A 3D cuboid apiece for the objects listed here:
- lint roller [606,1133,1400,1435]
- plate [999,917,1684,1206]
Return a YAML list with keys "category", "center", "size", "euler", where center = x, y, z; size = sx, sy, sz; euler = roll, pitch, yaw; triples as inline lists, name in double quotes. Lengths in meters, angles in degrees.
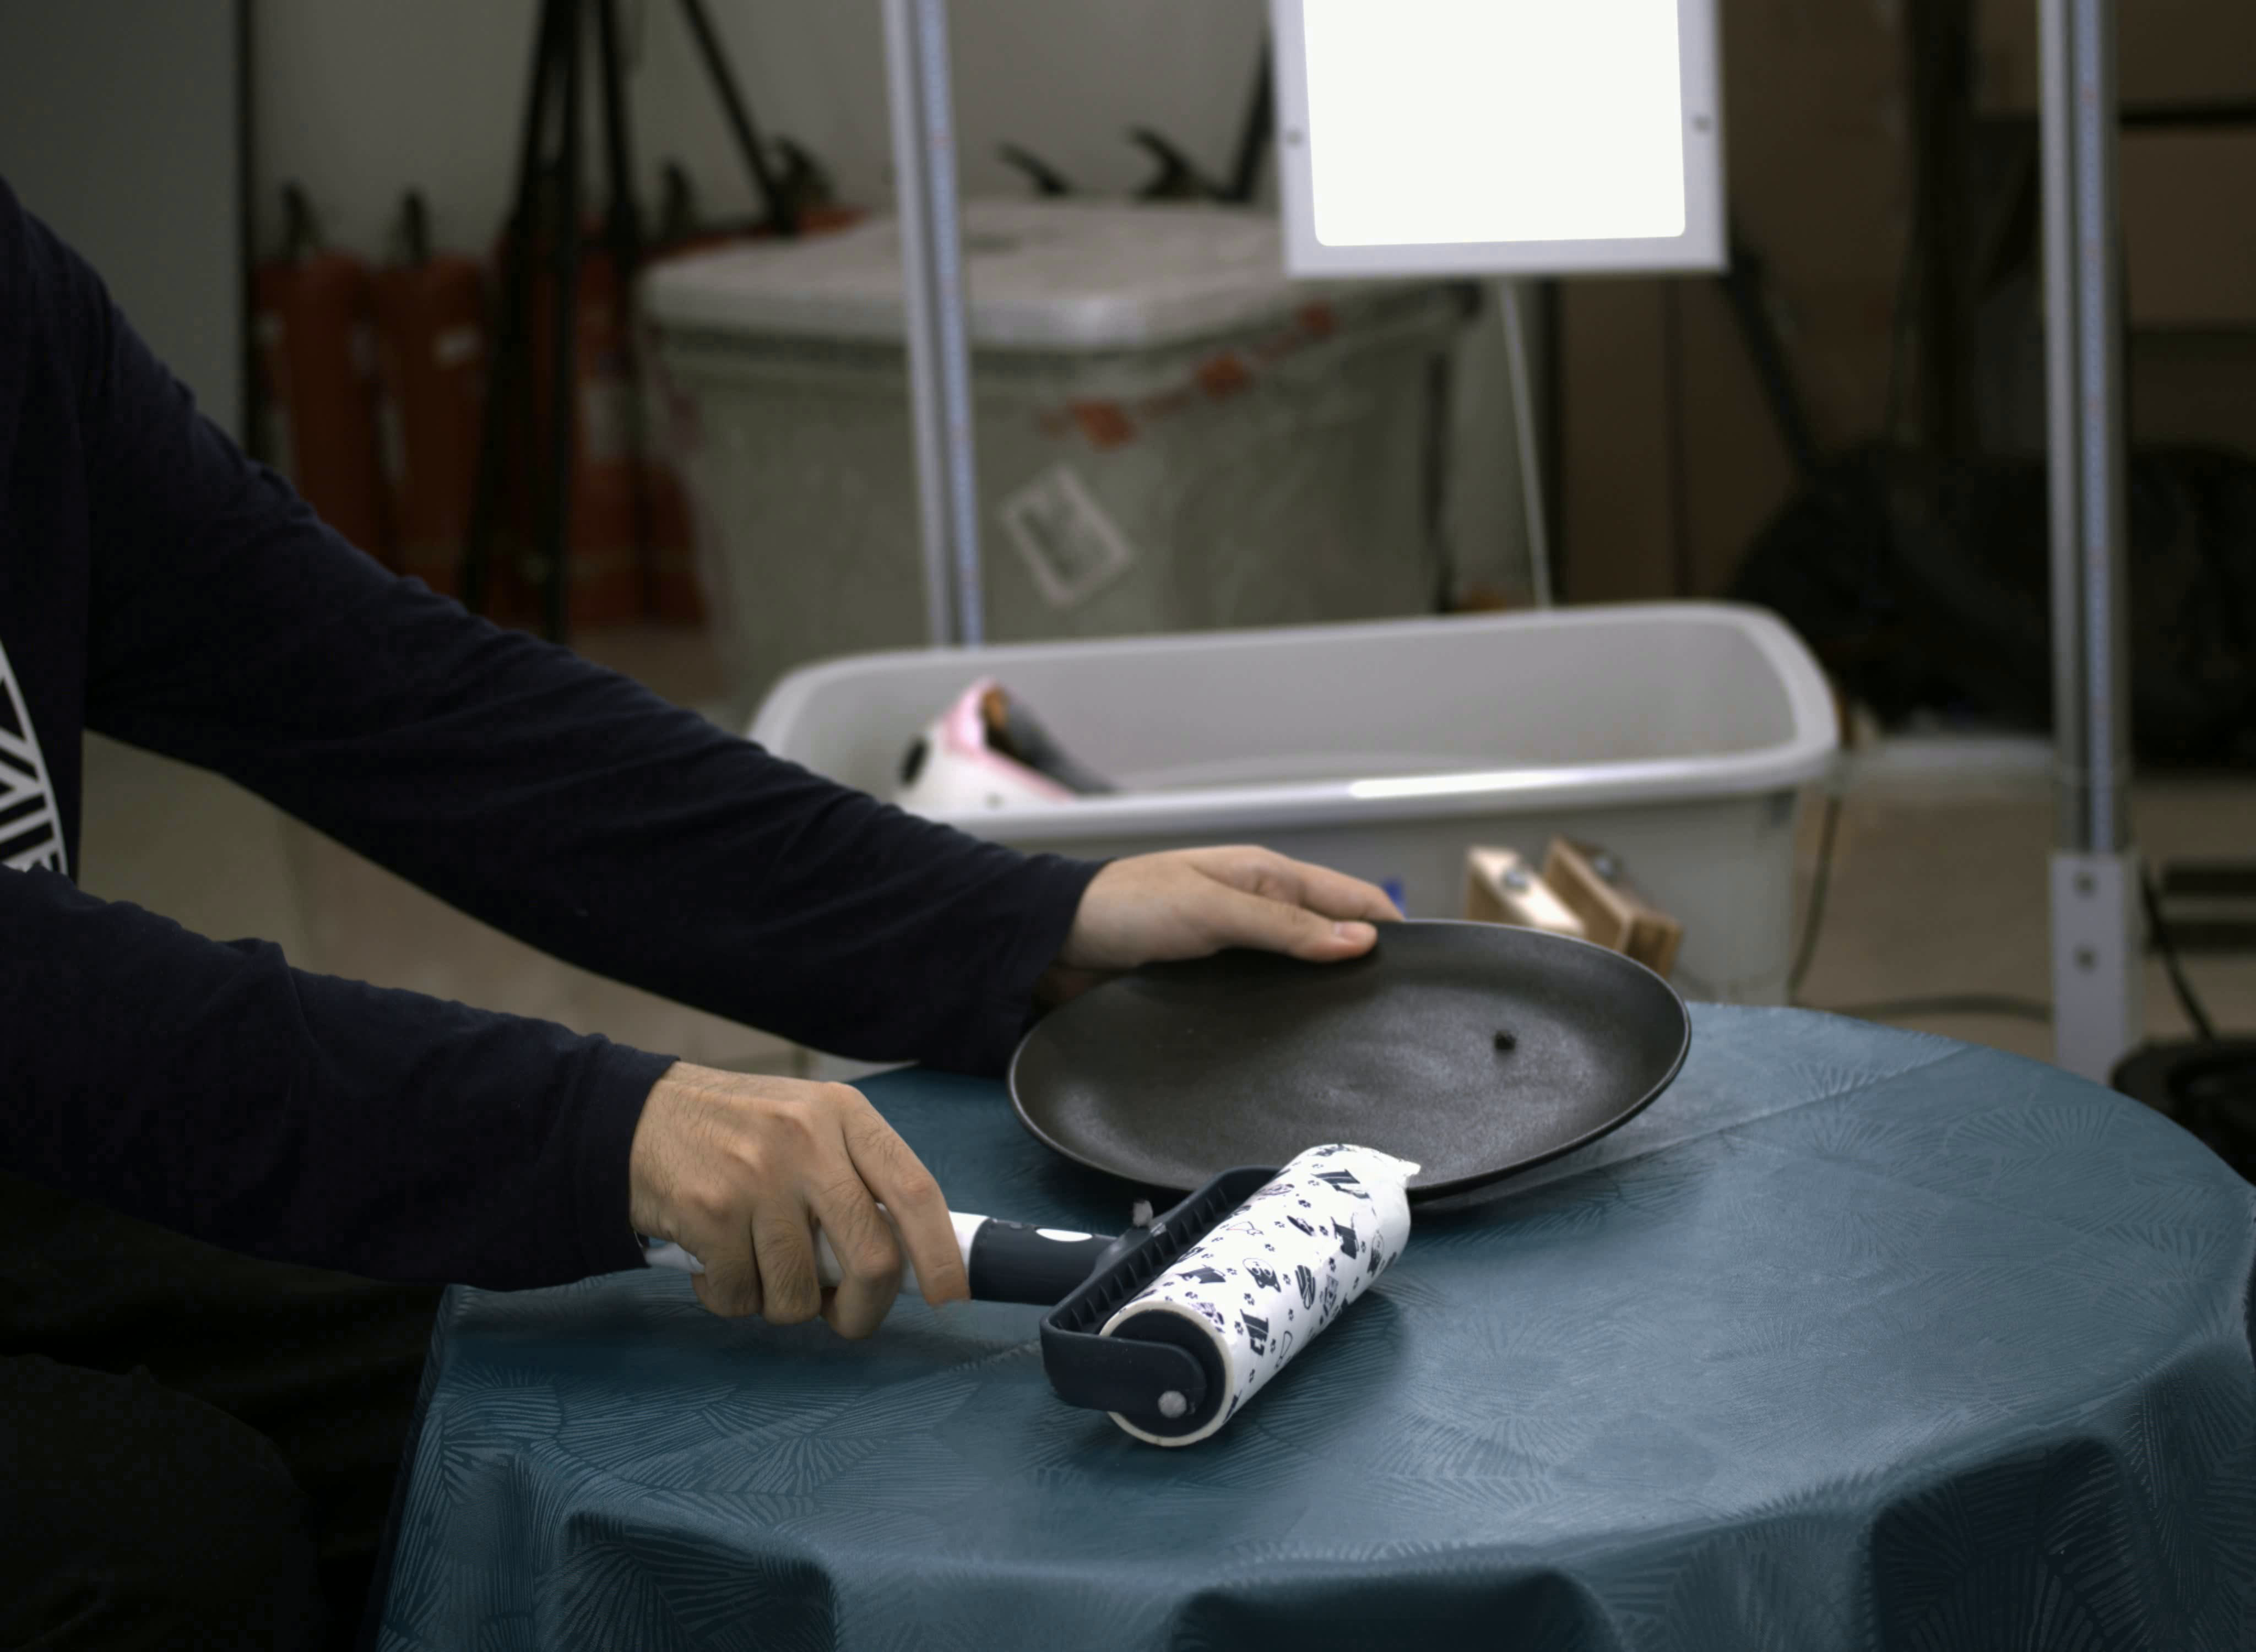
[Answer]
- category: "lint roller"
  center: [-0.055, 0.132, 1.753]
  size: [0.250, 0.050, 0.173]
  euler: [6, 17, 23]
- category: "plate"
  center: [0.076, 0.088, 1.940]
  size: [0.244, 0.023, 0.244]
  euler: [-7, 21, 1]
